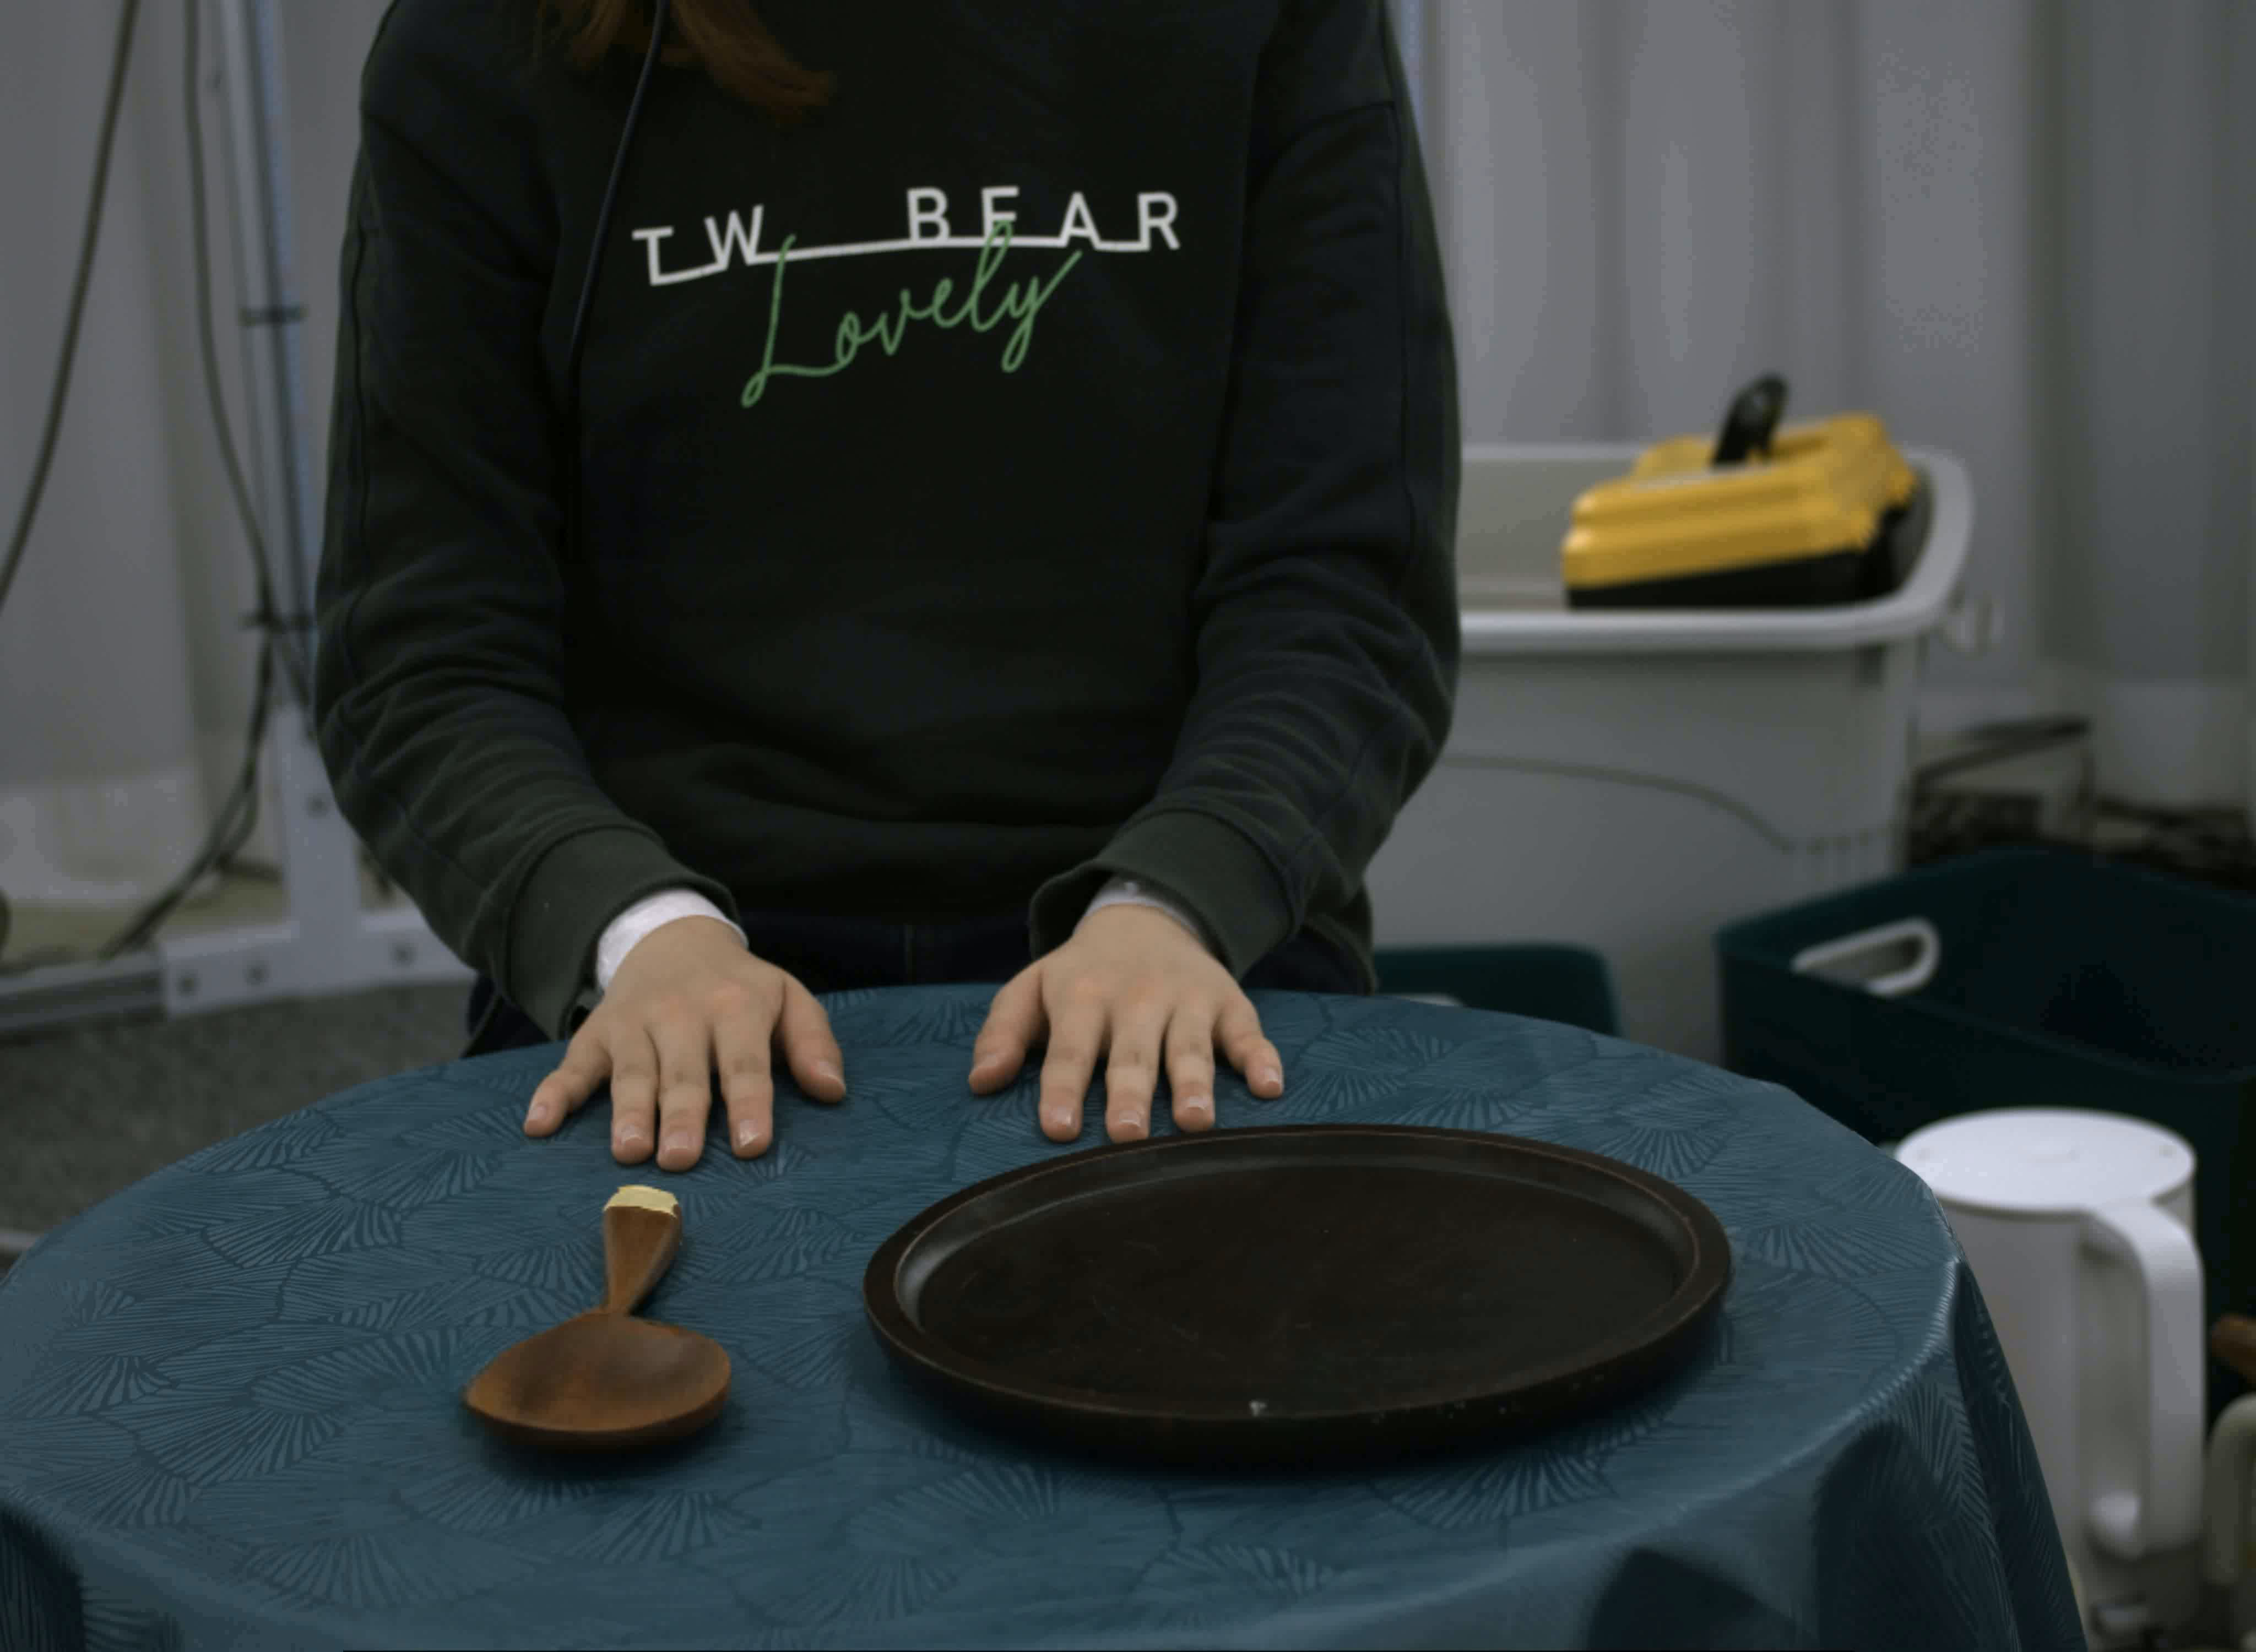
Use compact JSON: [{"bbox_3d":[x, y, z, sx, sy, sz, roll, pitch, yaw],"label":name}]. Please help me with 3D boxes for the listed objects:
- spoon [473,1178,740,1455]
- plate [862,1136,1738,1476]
[{"bbox_3d":[-0.148,0.144,1.598,0.075,0.017,0.217,-3,15,-1],"label":"spoon"},{"bbox_3d":[0.050,0.136,1.584,0.254,0.029,0.256,-2,16,0],"label":"plate"}]
